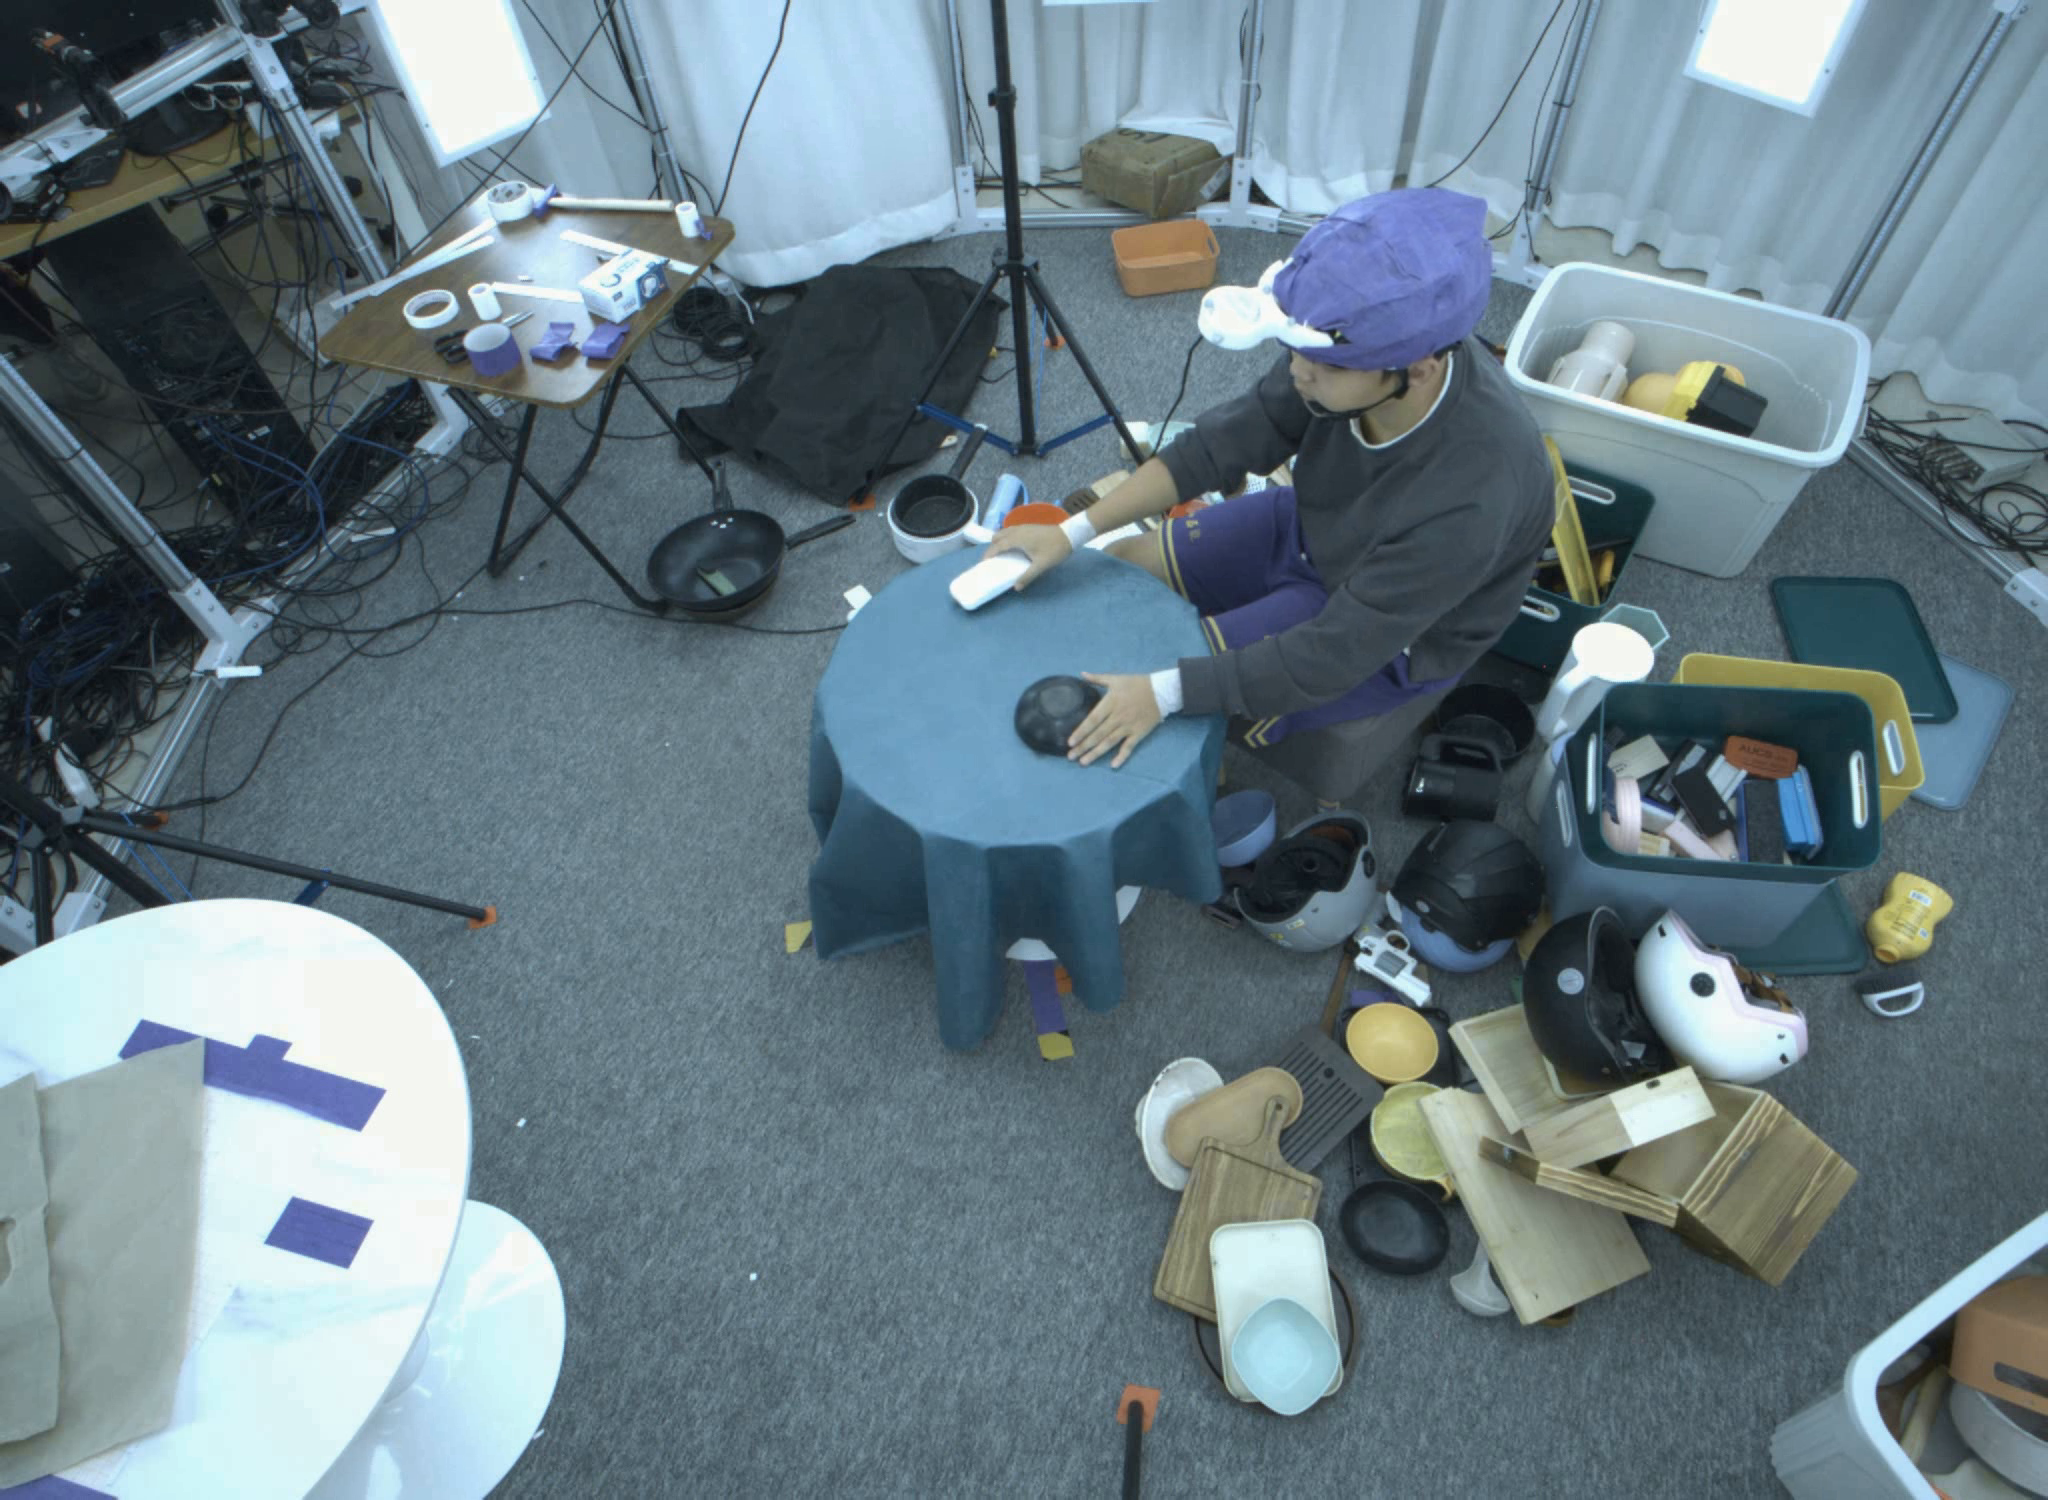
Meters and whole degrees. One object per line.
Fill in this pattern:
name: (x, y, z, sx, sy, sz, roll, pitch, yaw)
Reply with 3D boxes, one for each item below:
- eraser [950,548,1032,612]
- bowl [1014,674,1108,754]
eraser: (-0.052, -0.272, 1.958, 0.132, 0.035, 0.062, -30, 58, -9)
bowl: (0.053, -0.063, 1.801, 0.140, 0.050, 0.138, -1, 54, 3)
